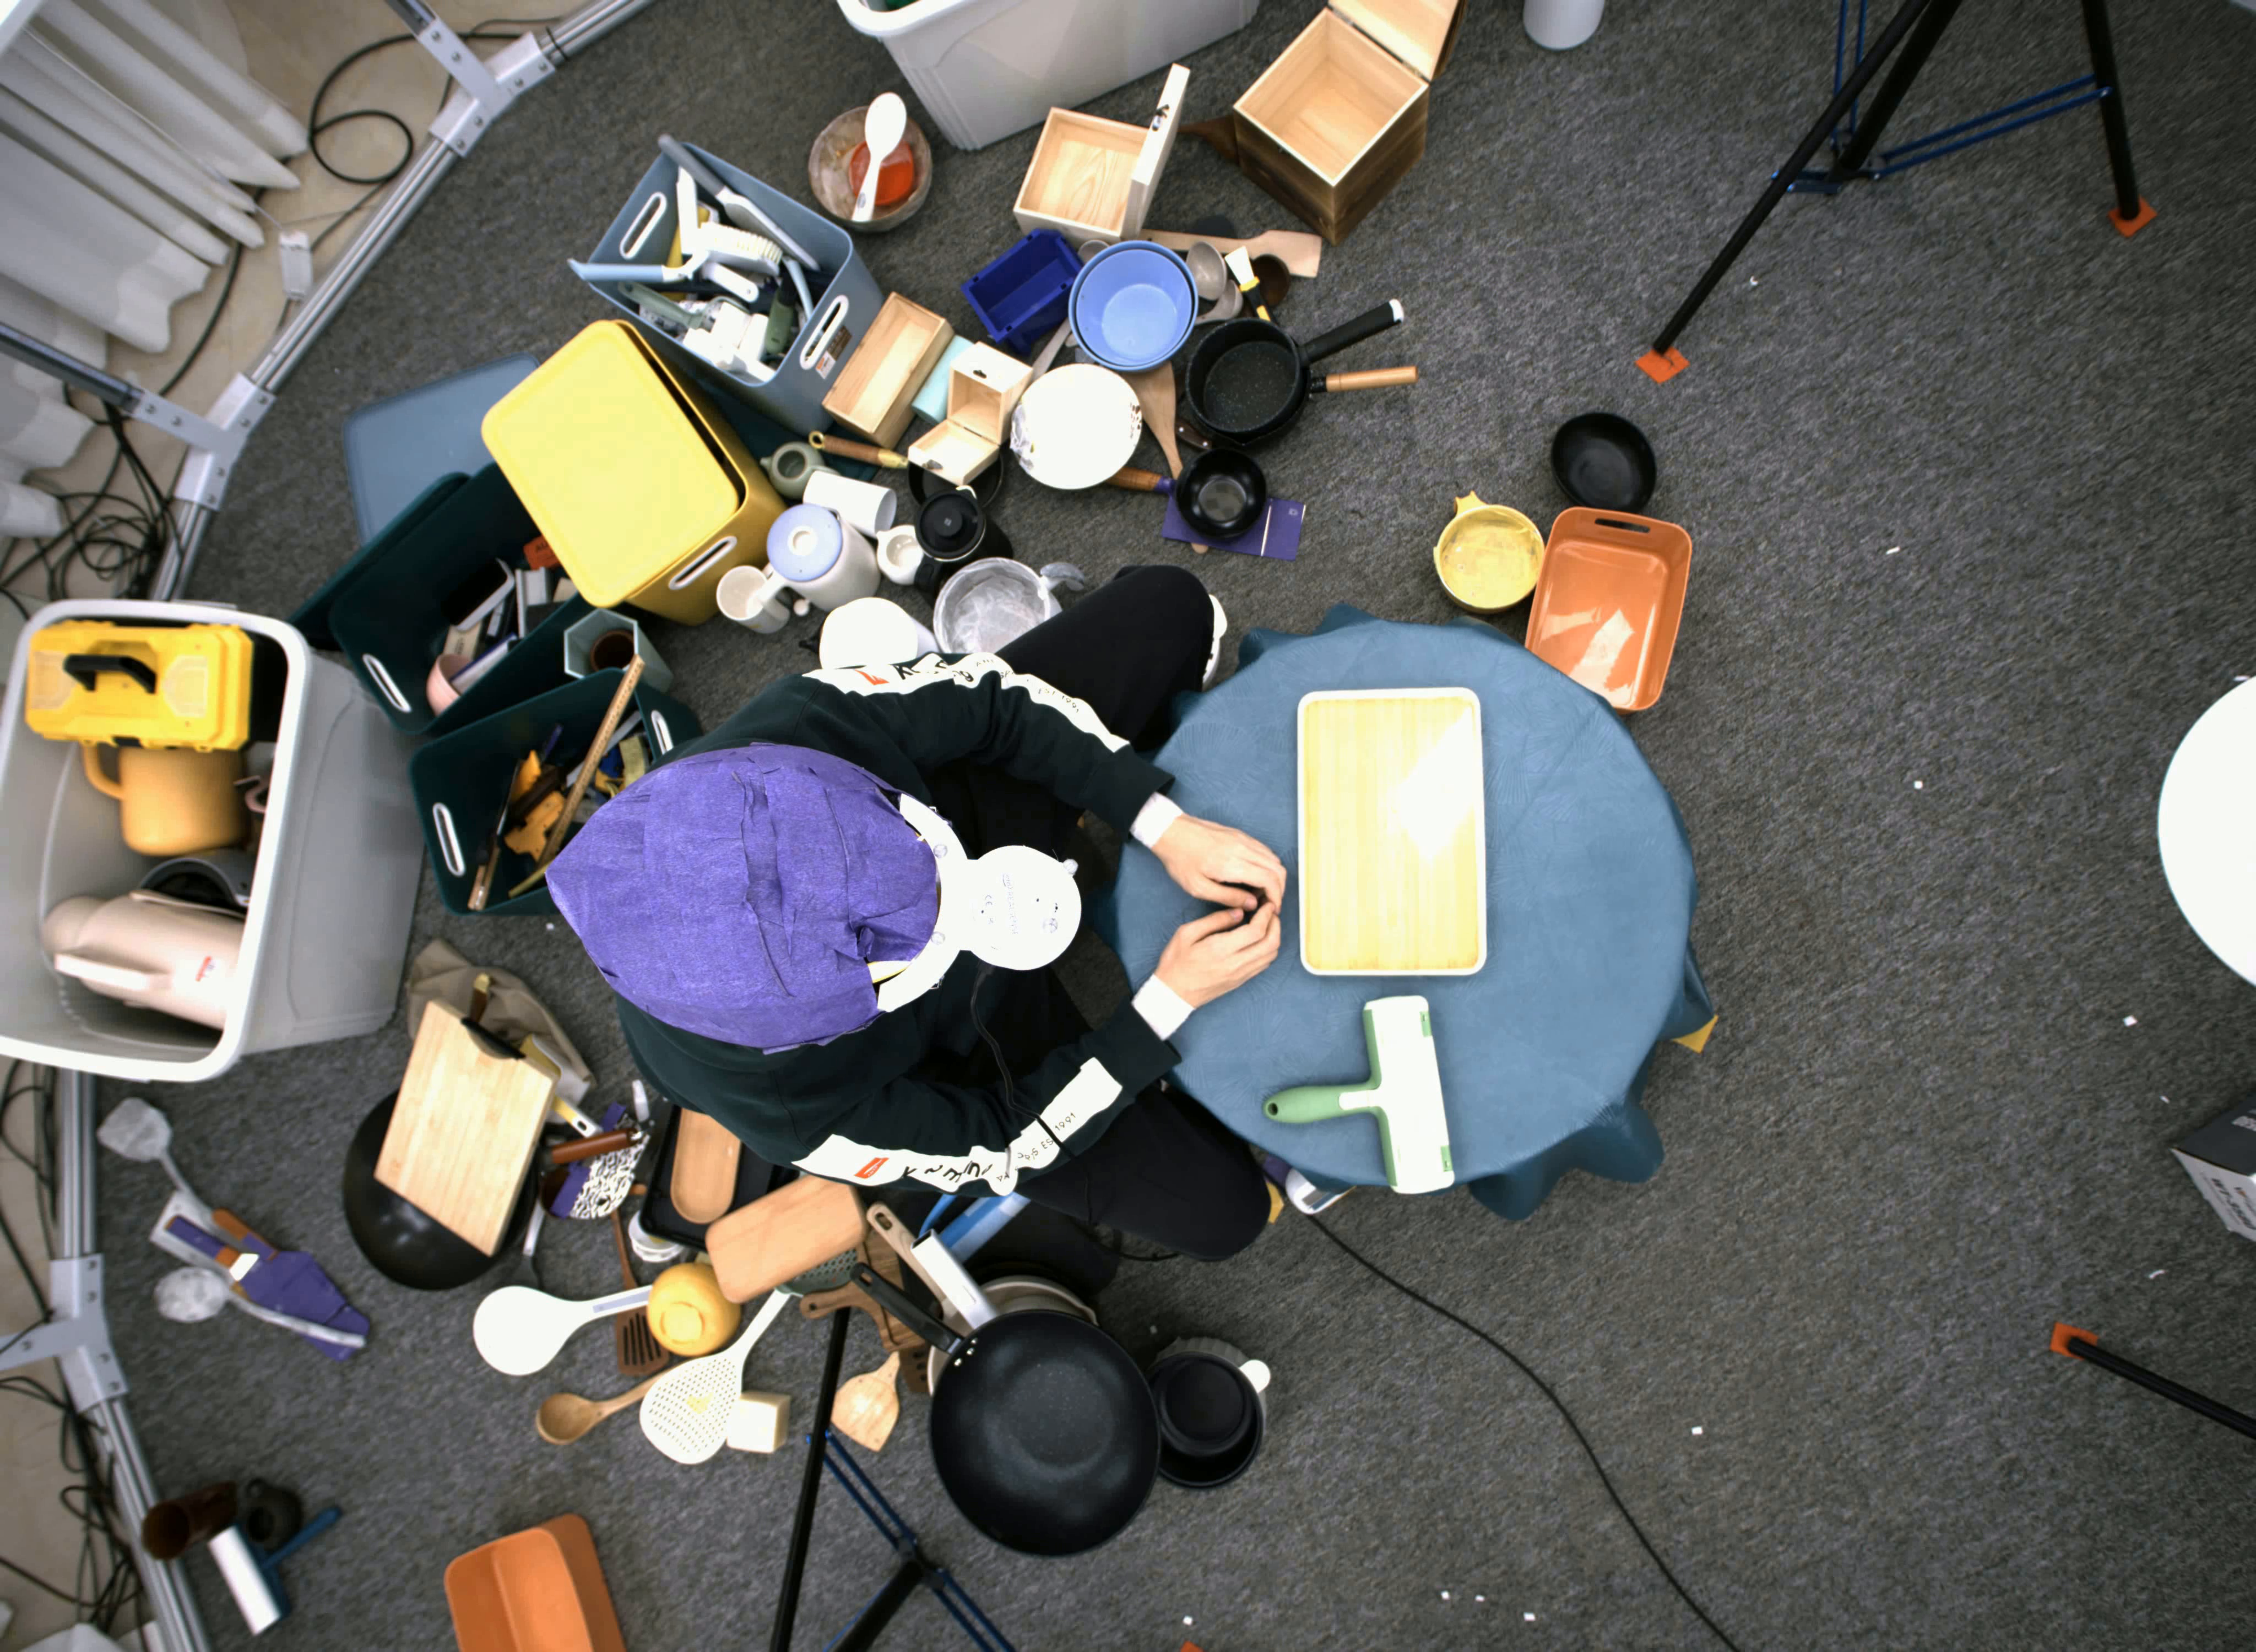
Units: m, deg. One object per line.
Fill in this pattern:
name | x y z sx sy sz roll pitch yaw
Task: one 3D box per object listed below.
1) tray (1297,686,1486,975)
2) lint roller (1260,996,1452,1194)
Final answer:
tray | 0.274 0.004 1.444 0.192 0.027 0.299 -1 87 11
lint roller | 0.227 0.279 1.414 0.184 0.082 0.197 -8 86 5
